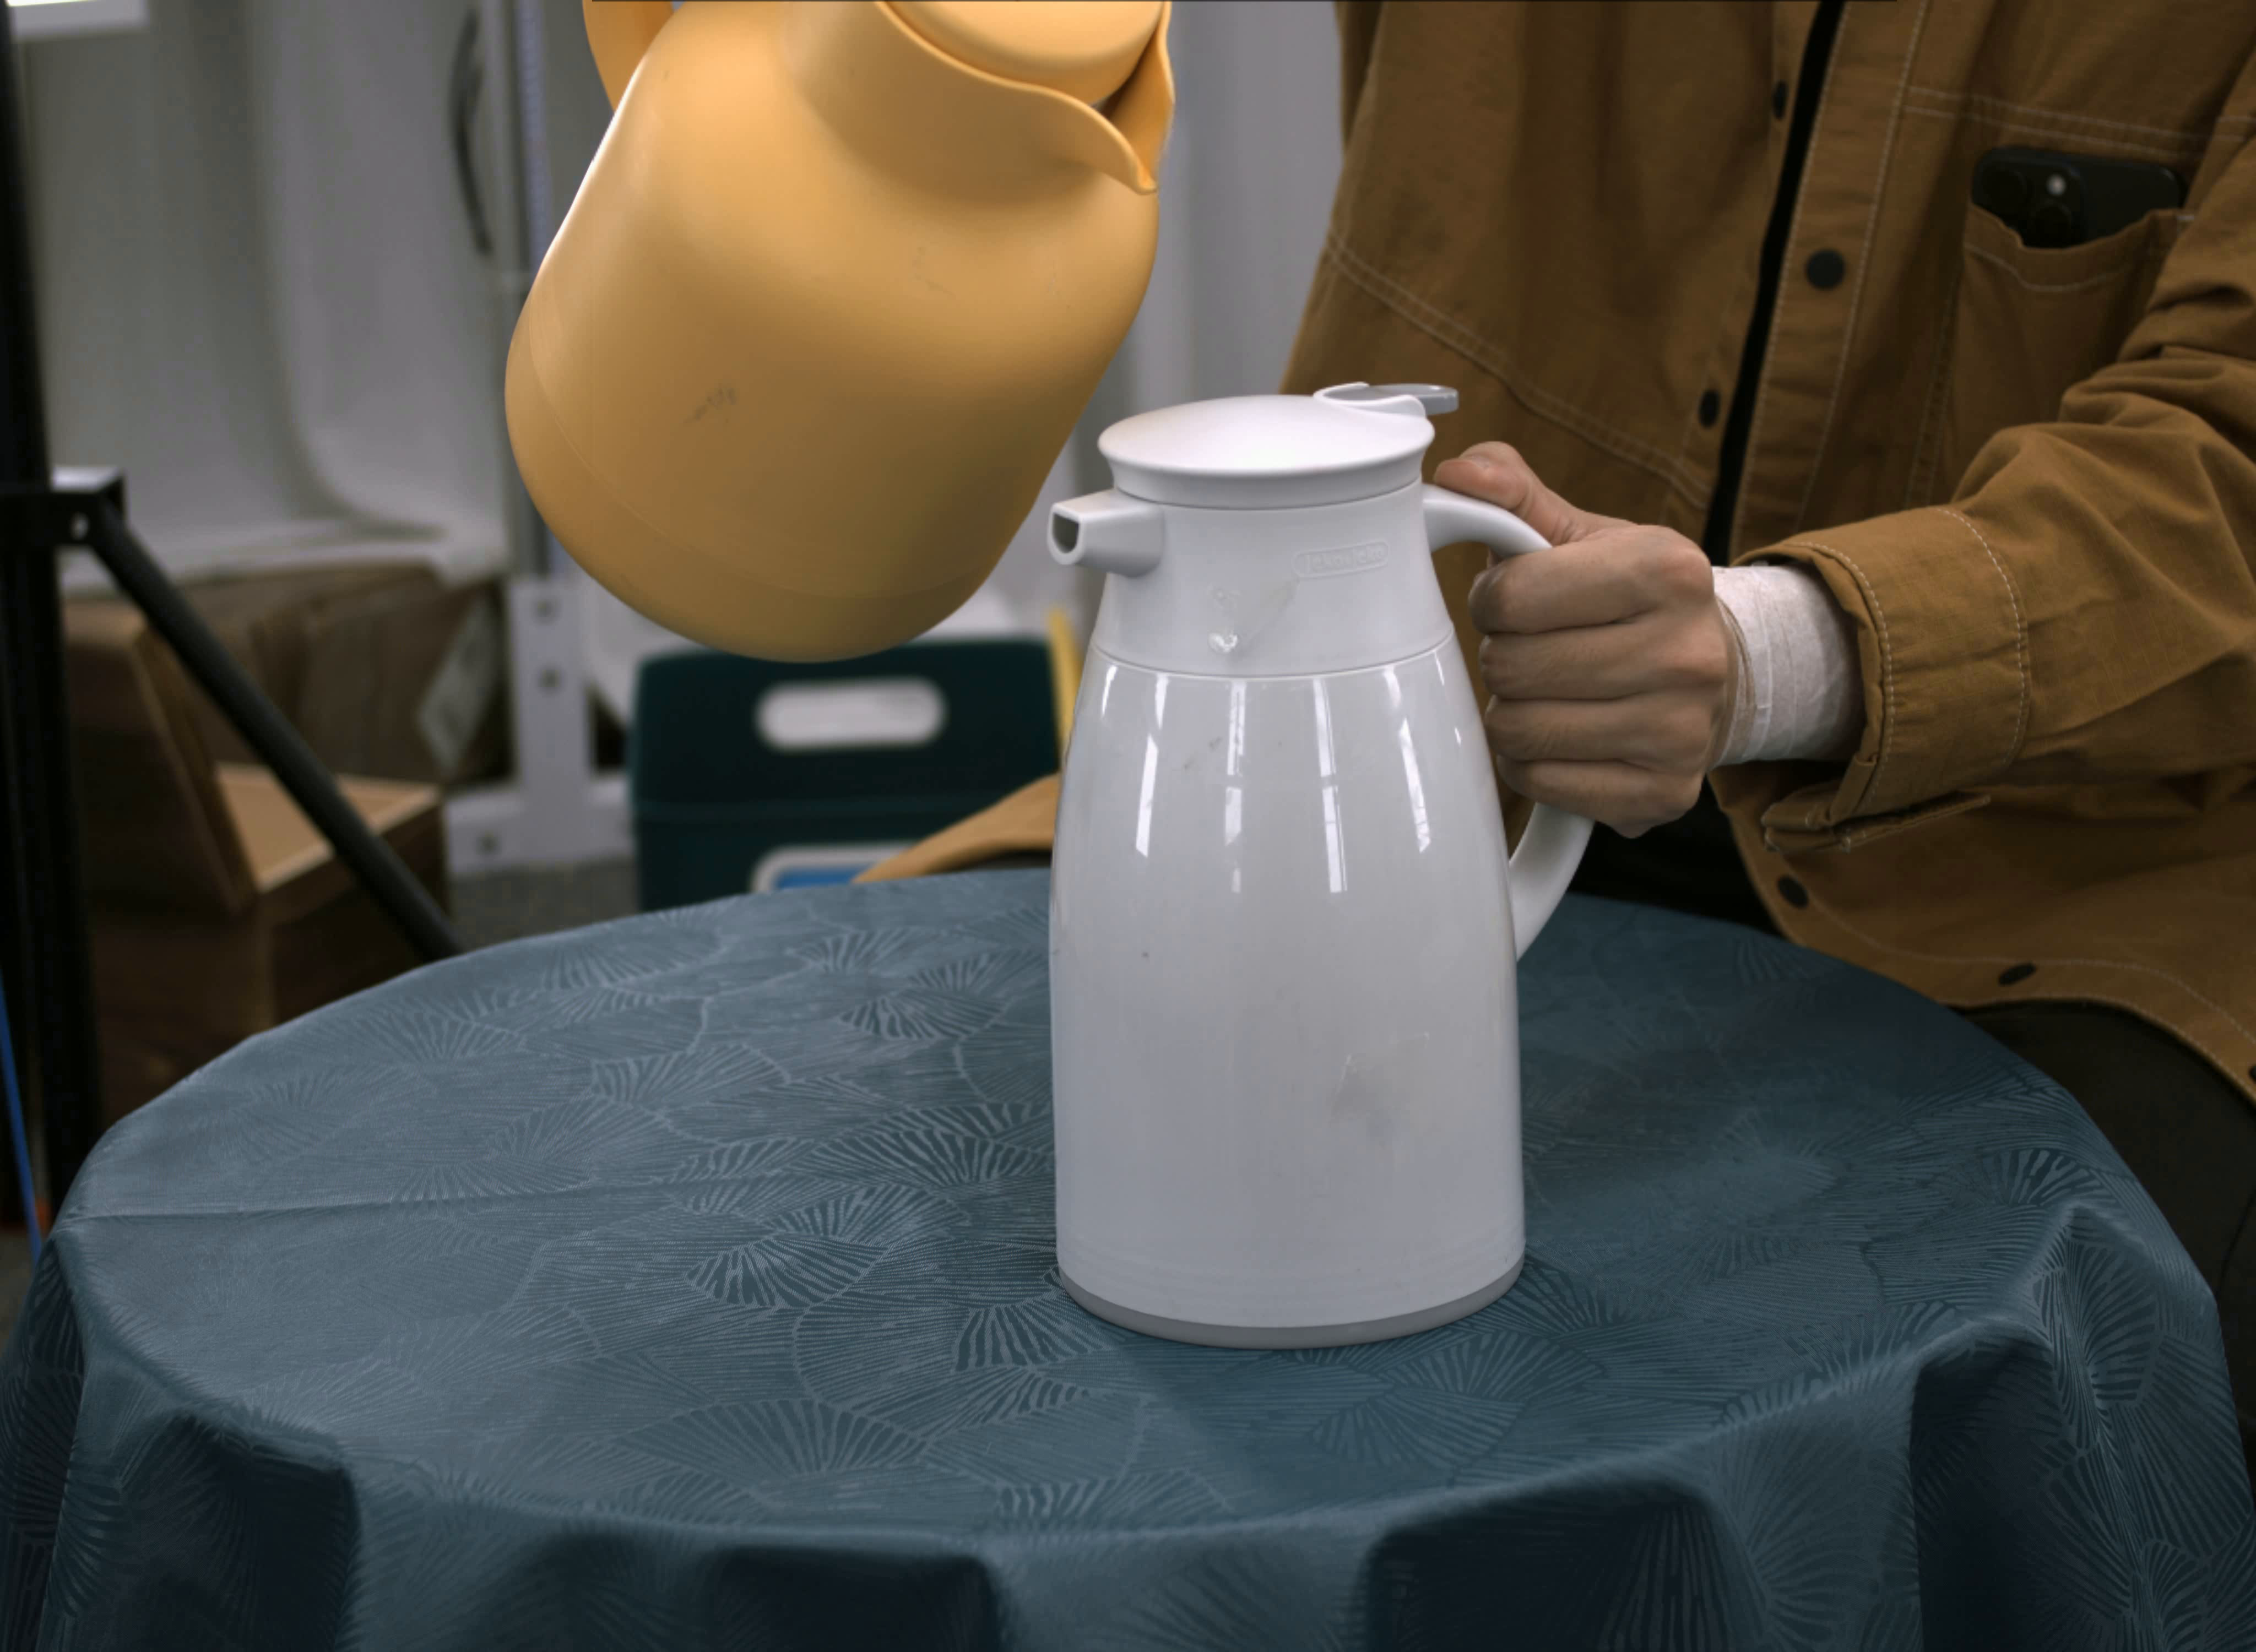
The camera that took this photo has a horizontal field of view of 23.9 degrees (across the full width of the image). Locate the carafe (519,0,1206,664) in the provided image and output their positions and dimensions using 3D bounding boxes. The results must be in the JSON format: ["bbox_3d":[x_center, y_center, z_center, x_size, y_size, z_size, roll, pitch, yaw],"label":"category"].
[{"bbox_3d":[-0.082,-0.189,1.548,0.160,0.262,0.205,-26,70,-38],"label":"carafe"}]

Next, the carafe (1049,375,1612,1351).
[{"bbox_3d":[0.058,0.002,1.467,0.164,0.248,0.135,-9,16,-25],"label":"carafe"}]
